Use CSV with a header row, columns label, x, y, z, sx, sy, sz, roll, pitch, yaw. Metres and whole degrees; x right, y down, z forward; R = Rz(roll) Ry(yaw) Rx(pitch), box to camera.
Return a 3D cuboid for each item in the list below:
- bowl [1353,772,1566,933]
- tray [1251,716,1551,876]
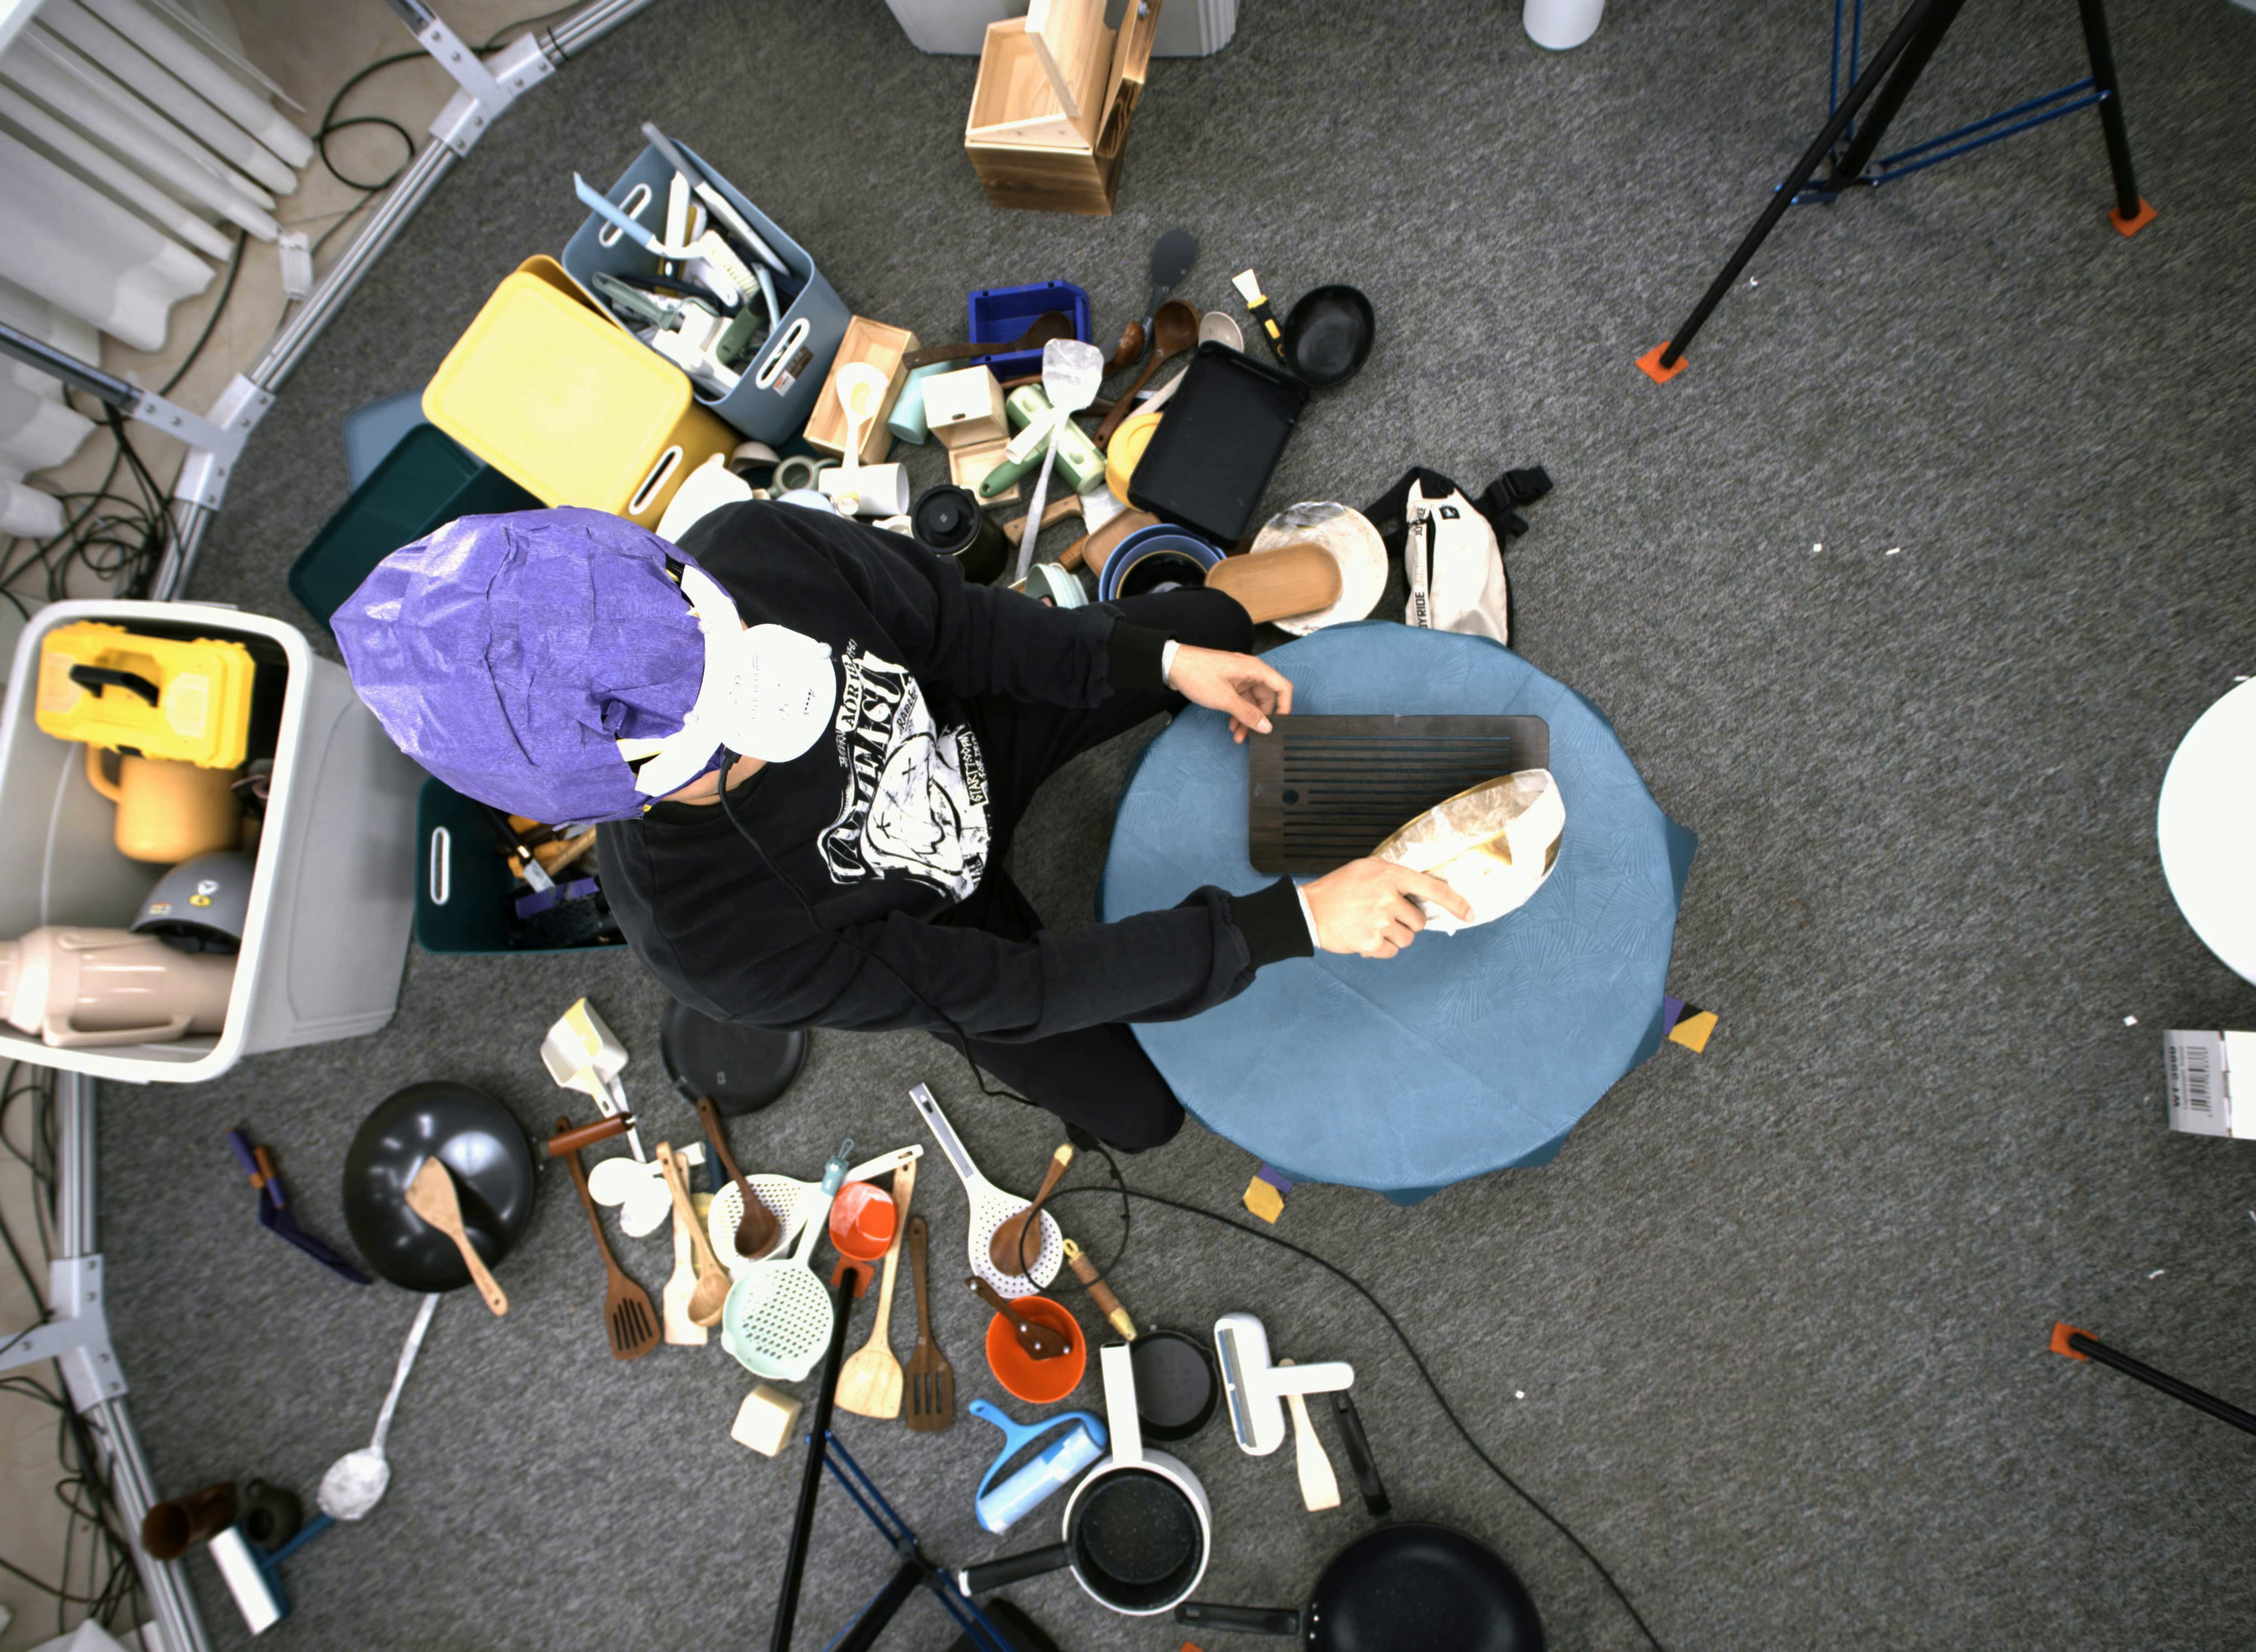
label,x,y,z,sx,sy,sz,roll,pitch,yaw
bowl,0.325,0.038,1.300,0.216,0.212,0.095,-31,100,5
tray,0.282,-0.033,1.437,0.307,0.018,0.172,1,104,10
